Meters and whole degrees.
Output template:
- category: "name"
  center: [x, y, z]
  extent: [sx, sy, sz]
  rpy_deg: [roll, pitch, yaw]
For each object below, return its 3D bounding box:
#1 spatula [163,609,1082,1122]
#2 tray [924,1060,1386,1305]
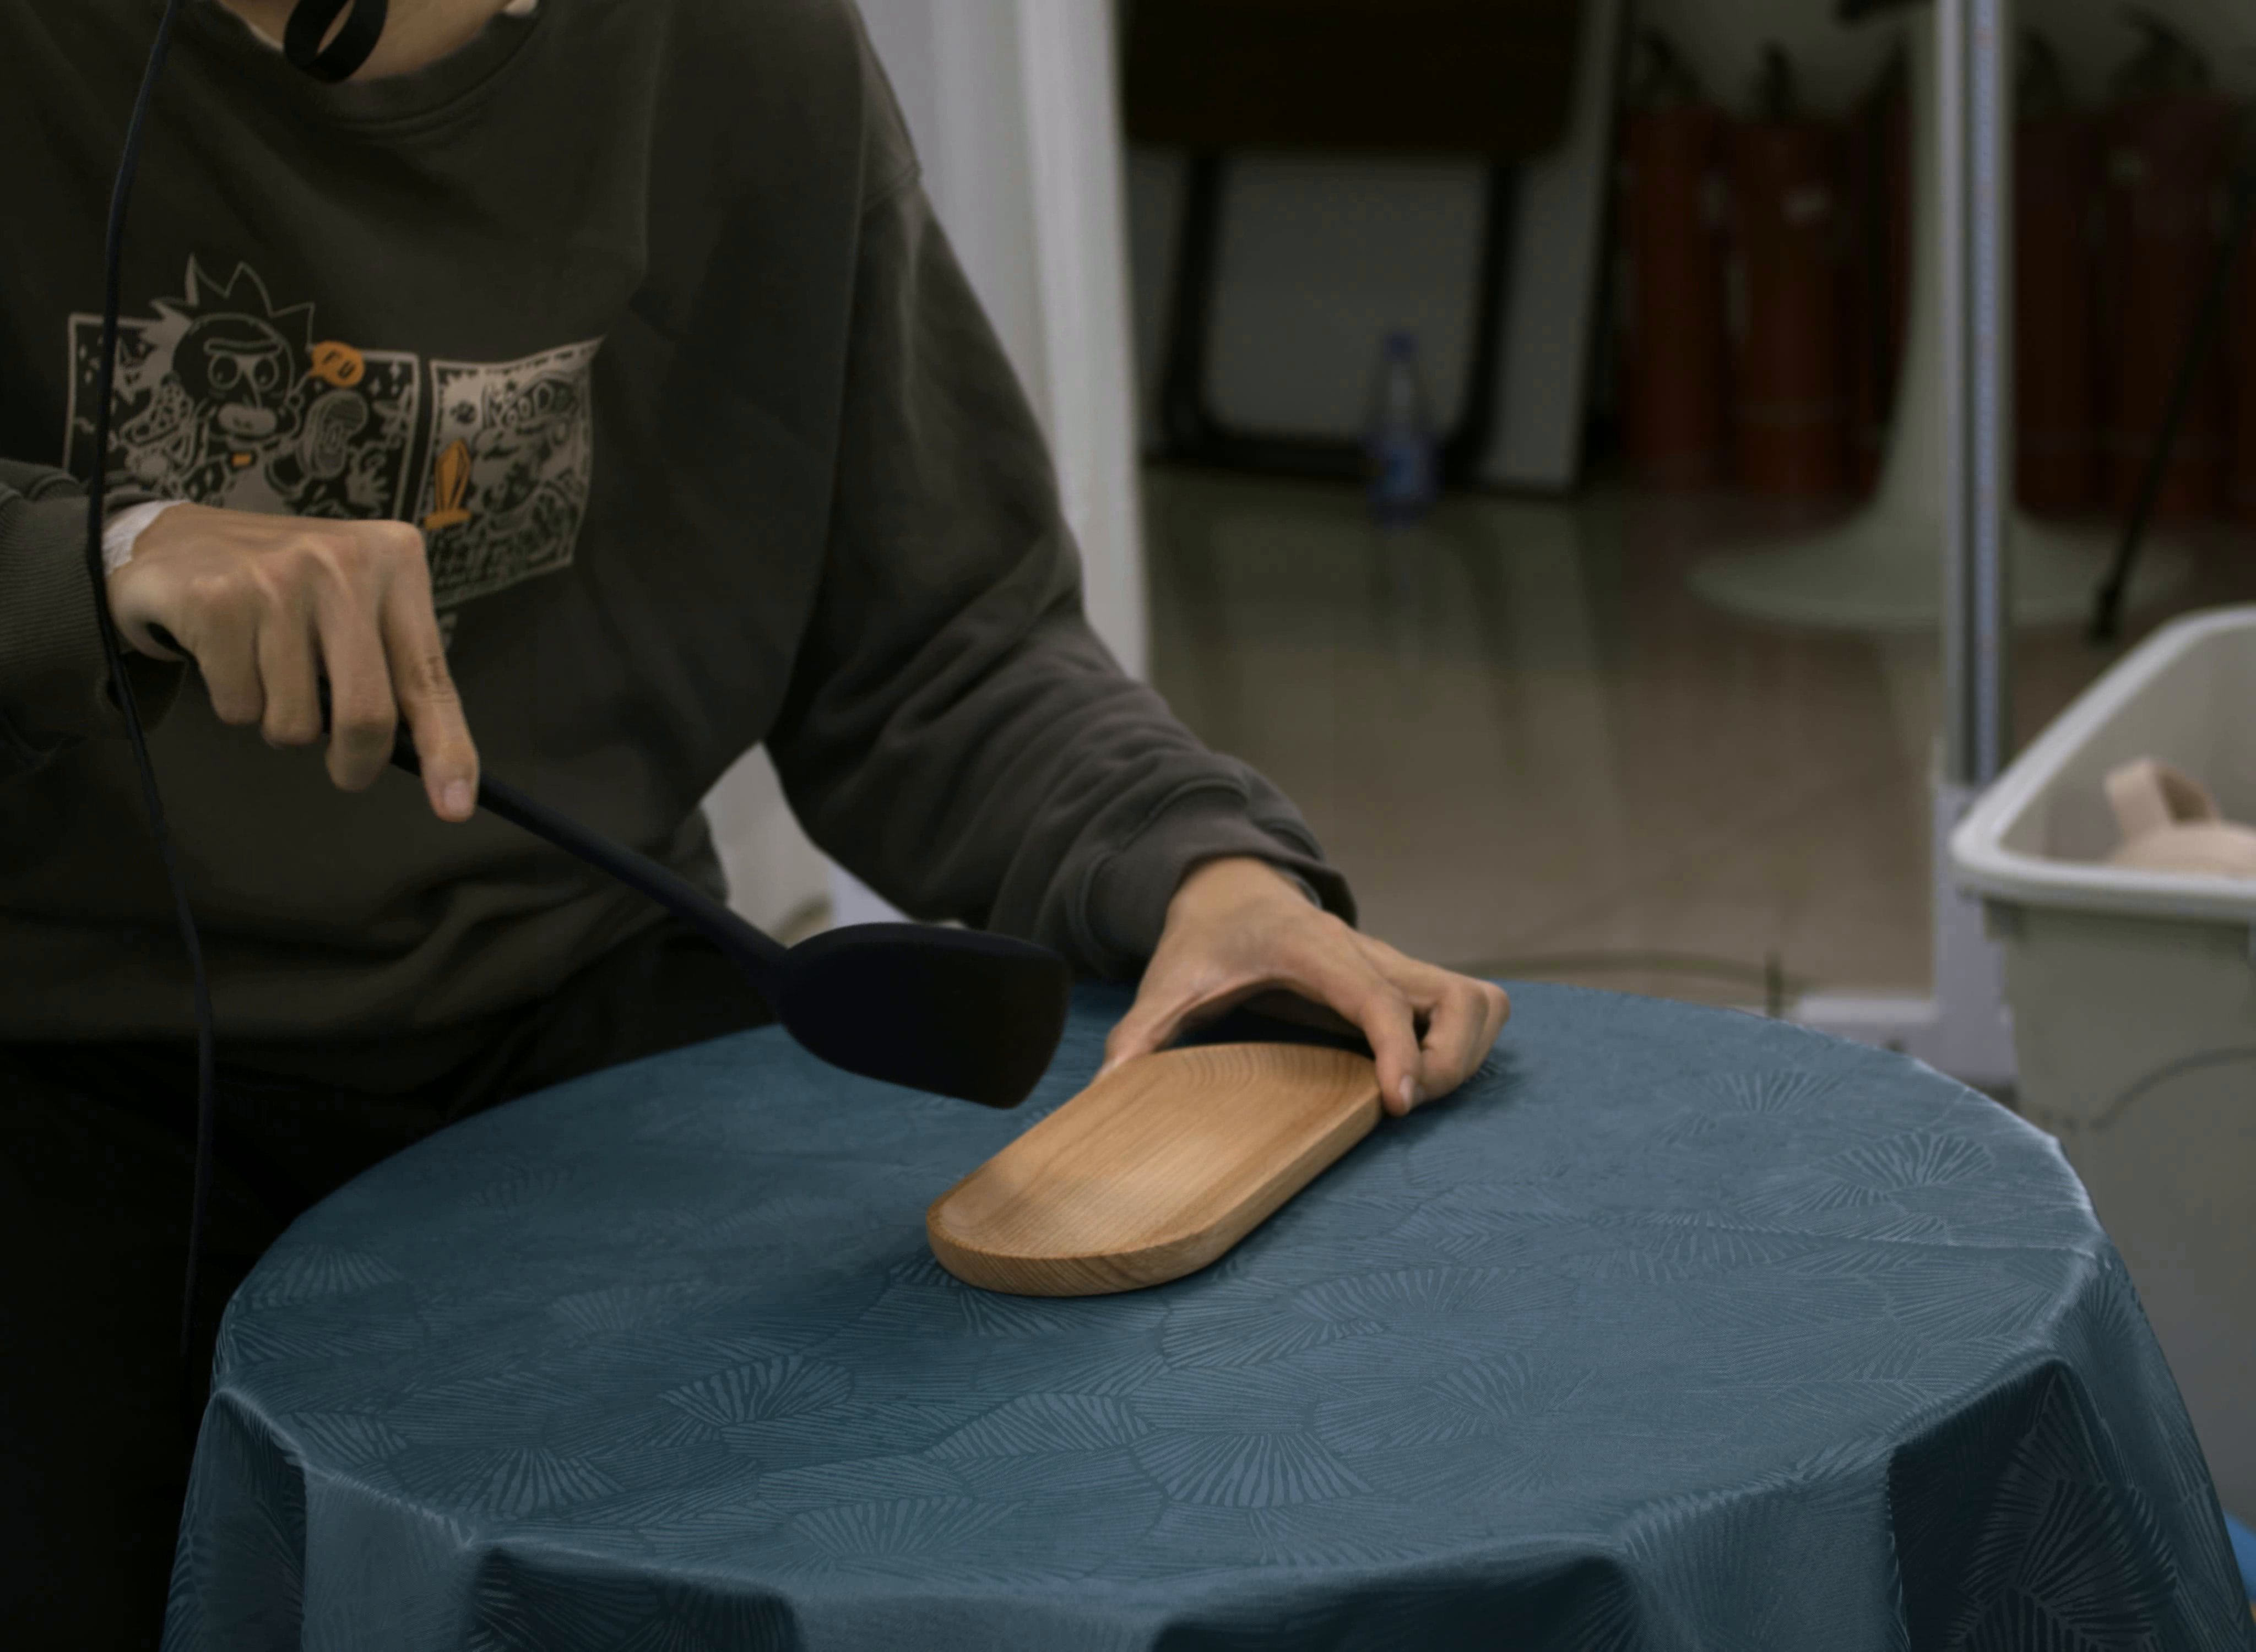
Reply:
- category: "spatula"
  center: [-0.165, 0.003, 1.737]
  extent: [0.325, 0.100, 0.040]
  rpy_deg: [30, 52, 9]
- category: "tray"
  center: [0.012, 0.115, 1.768]
  extent: [0.102, 0.020, 0.228]
  rpy_deg: [1, 15, 25]
